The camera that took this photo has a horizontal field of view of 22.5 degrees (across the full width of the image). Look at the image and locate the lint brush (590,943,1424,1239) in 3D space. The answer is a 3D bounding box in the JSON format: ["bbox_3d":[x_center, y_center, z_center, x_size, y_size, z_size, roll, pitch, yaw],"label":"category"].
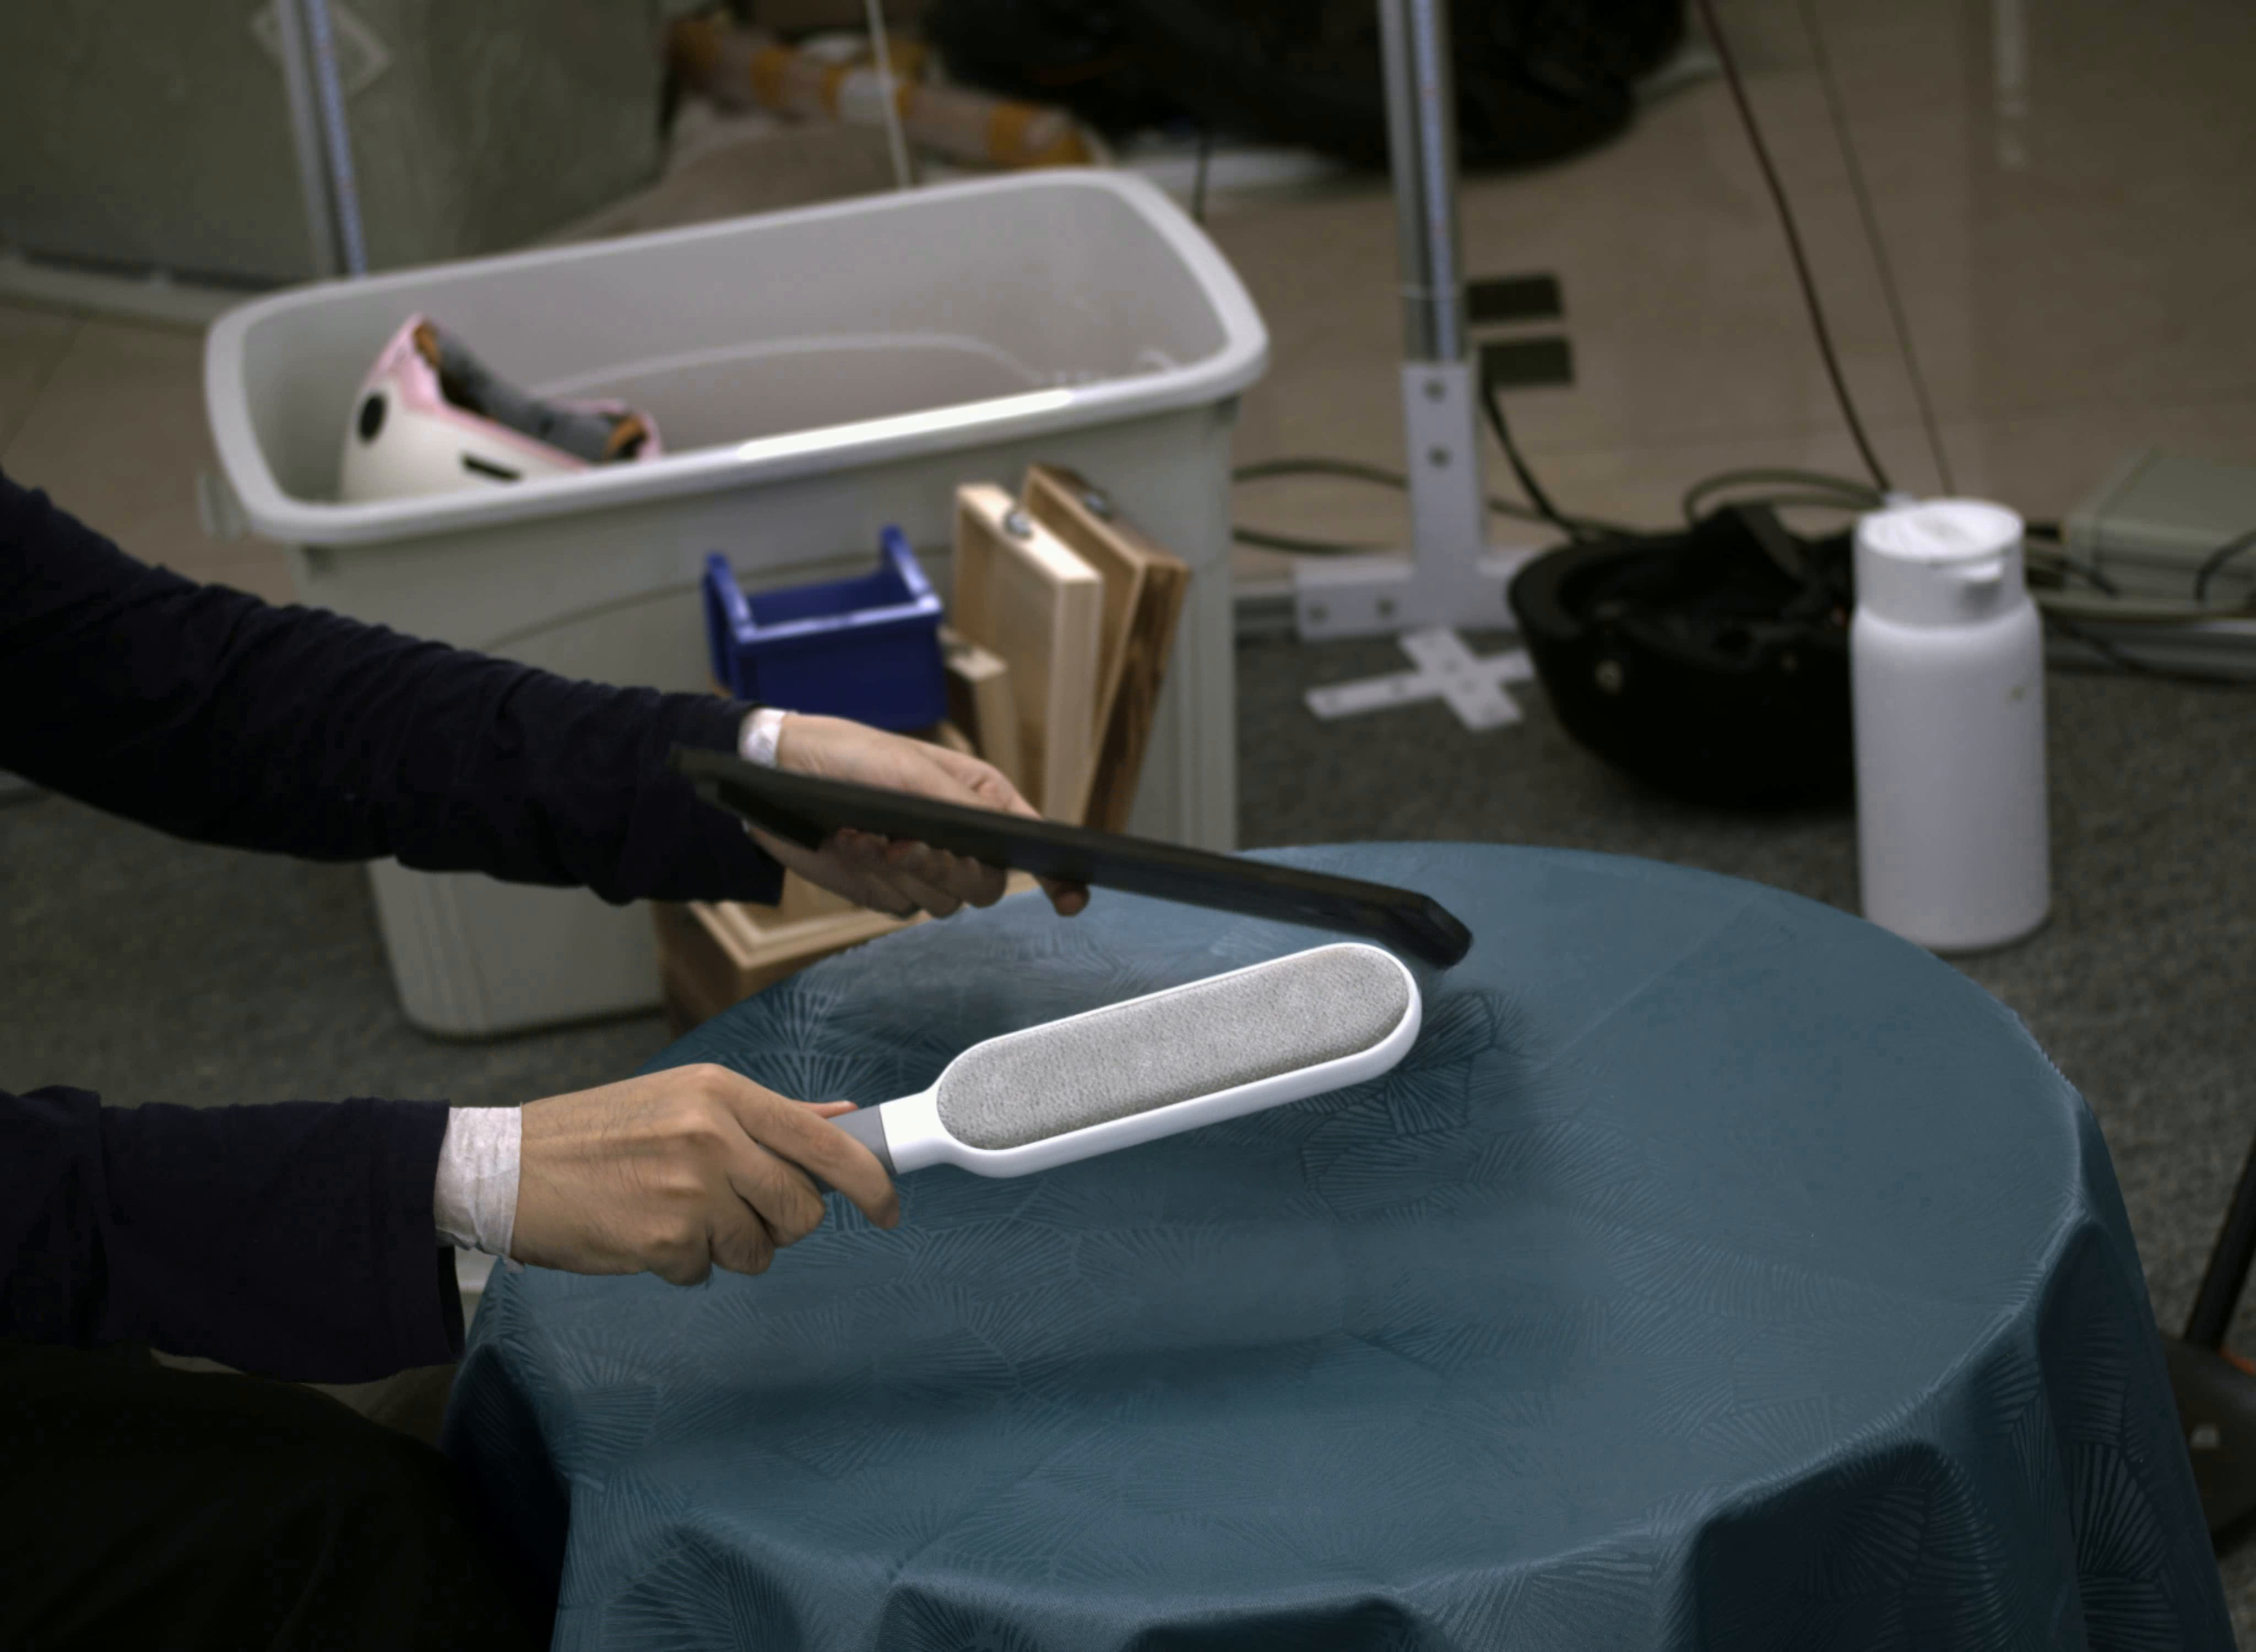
[{"bbox_3d":[-0.044,0.098,2.029,0.308,0.021,0.059,-15,54,2],"label":"lint brush"}]

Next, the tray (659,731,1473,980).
[{"bbox_3d":[-0.023,0.014,2.223,0.305,0.018,0.171,11,-7,13],"label":"tray"}]
